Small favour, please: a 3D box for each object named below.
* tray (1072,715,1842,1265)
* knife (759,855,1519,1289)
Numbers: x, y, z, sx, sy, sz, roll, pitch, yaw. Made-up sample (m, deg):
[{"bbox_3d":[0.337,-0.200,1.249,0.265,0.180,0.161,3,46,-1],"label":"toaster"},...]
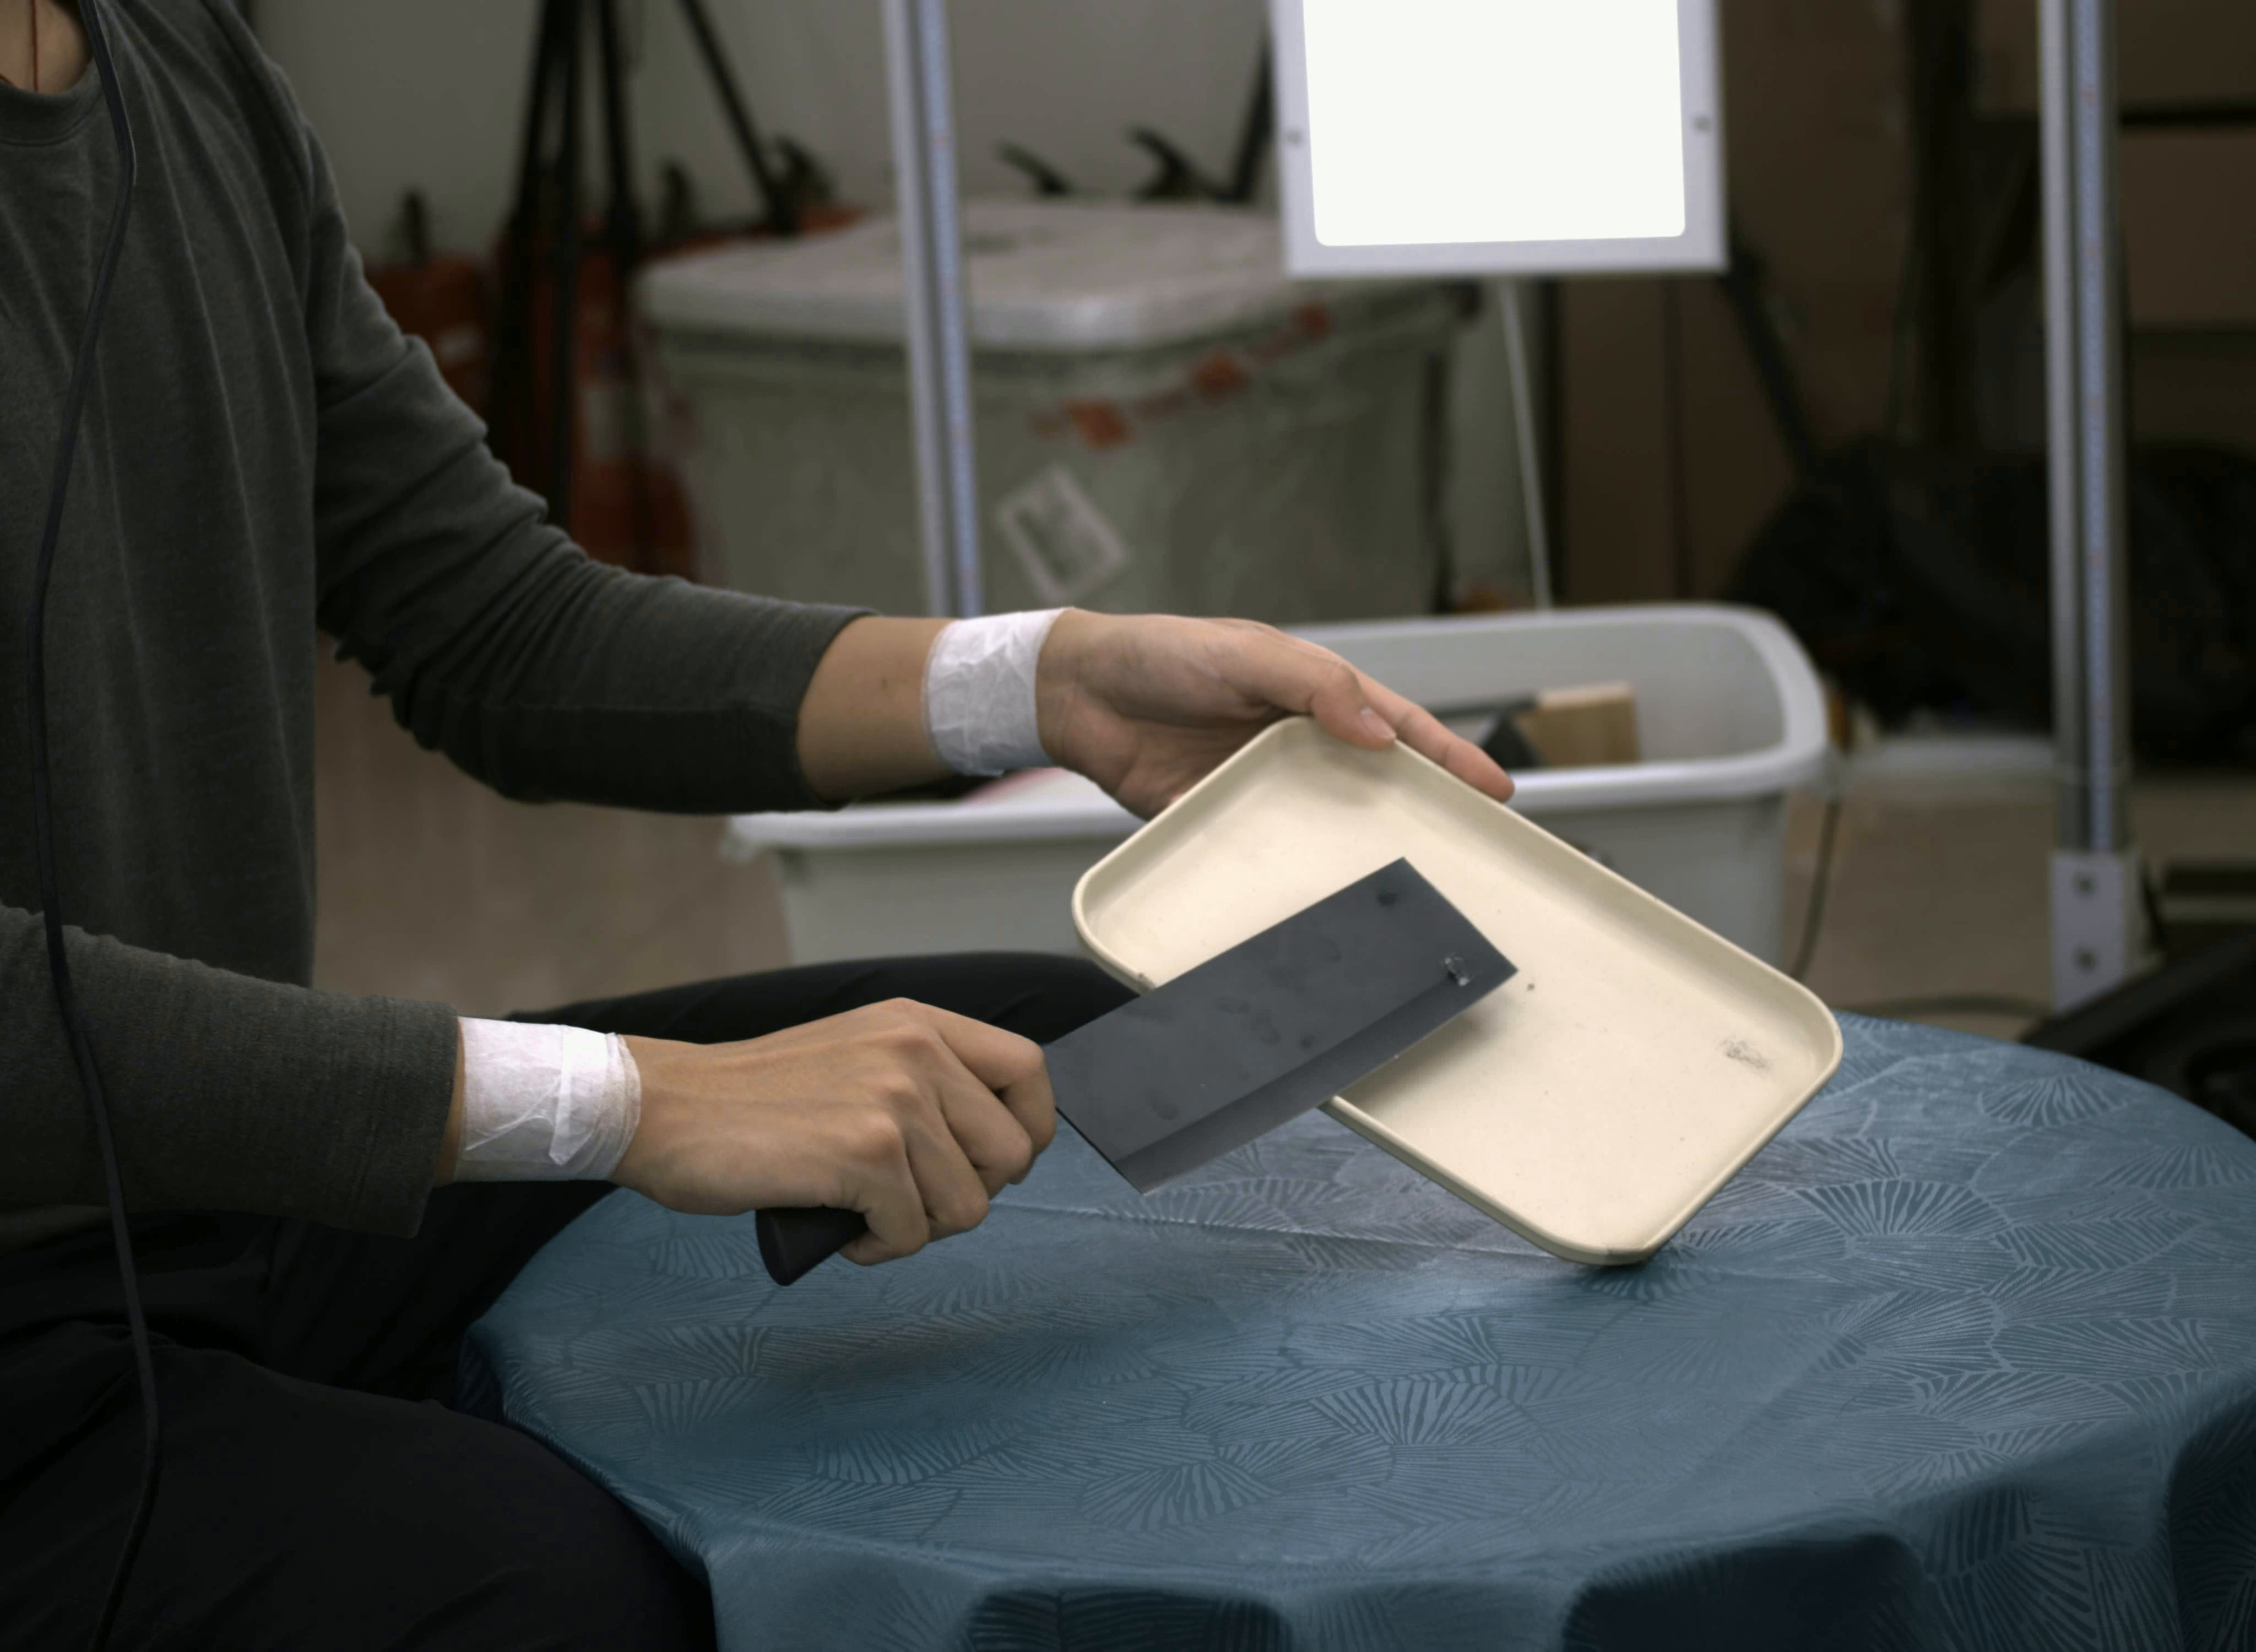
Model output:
[{"bbox_3d":[0.111,0.054,1.861,0.242,0.017,0.167,32,44,22],"label":"tray"},{"bbox_3d":[0.004,0.083,1.789,0.295,0.021,0.082,-23,56,-30],"label":"knife"}]
